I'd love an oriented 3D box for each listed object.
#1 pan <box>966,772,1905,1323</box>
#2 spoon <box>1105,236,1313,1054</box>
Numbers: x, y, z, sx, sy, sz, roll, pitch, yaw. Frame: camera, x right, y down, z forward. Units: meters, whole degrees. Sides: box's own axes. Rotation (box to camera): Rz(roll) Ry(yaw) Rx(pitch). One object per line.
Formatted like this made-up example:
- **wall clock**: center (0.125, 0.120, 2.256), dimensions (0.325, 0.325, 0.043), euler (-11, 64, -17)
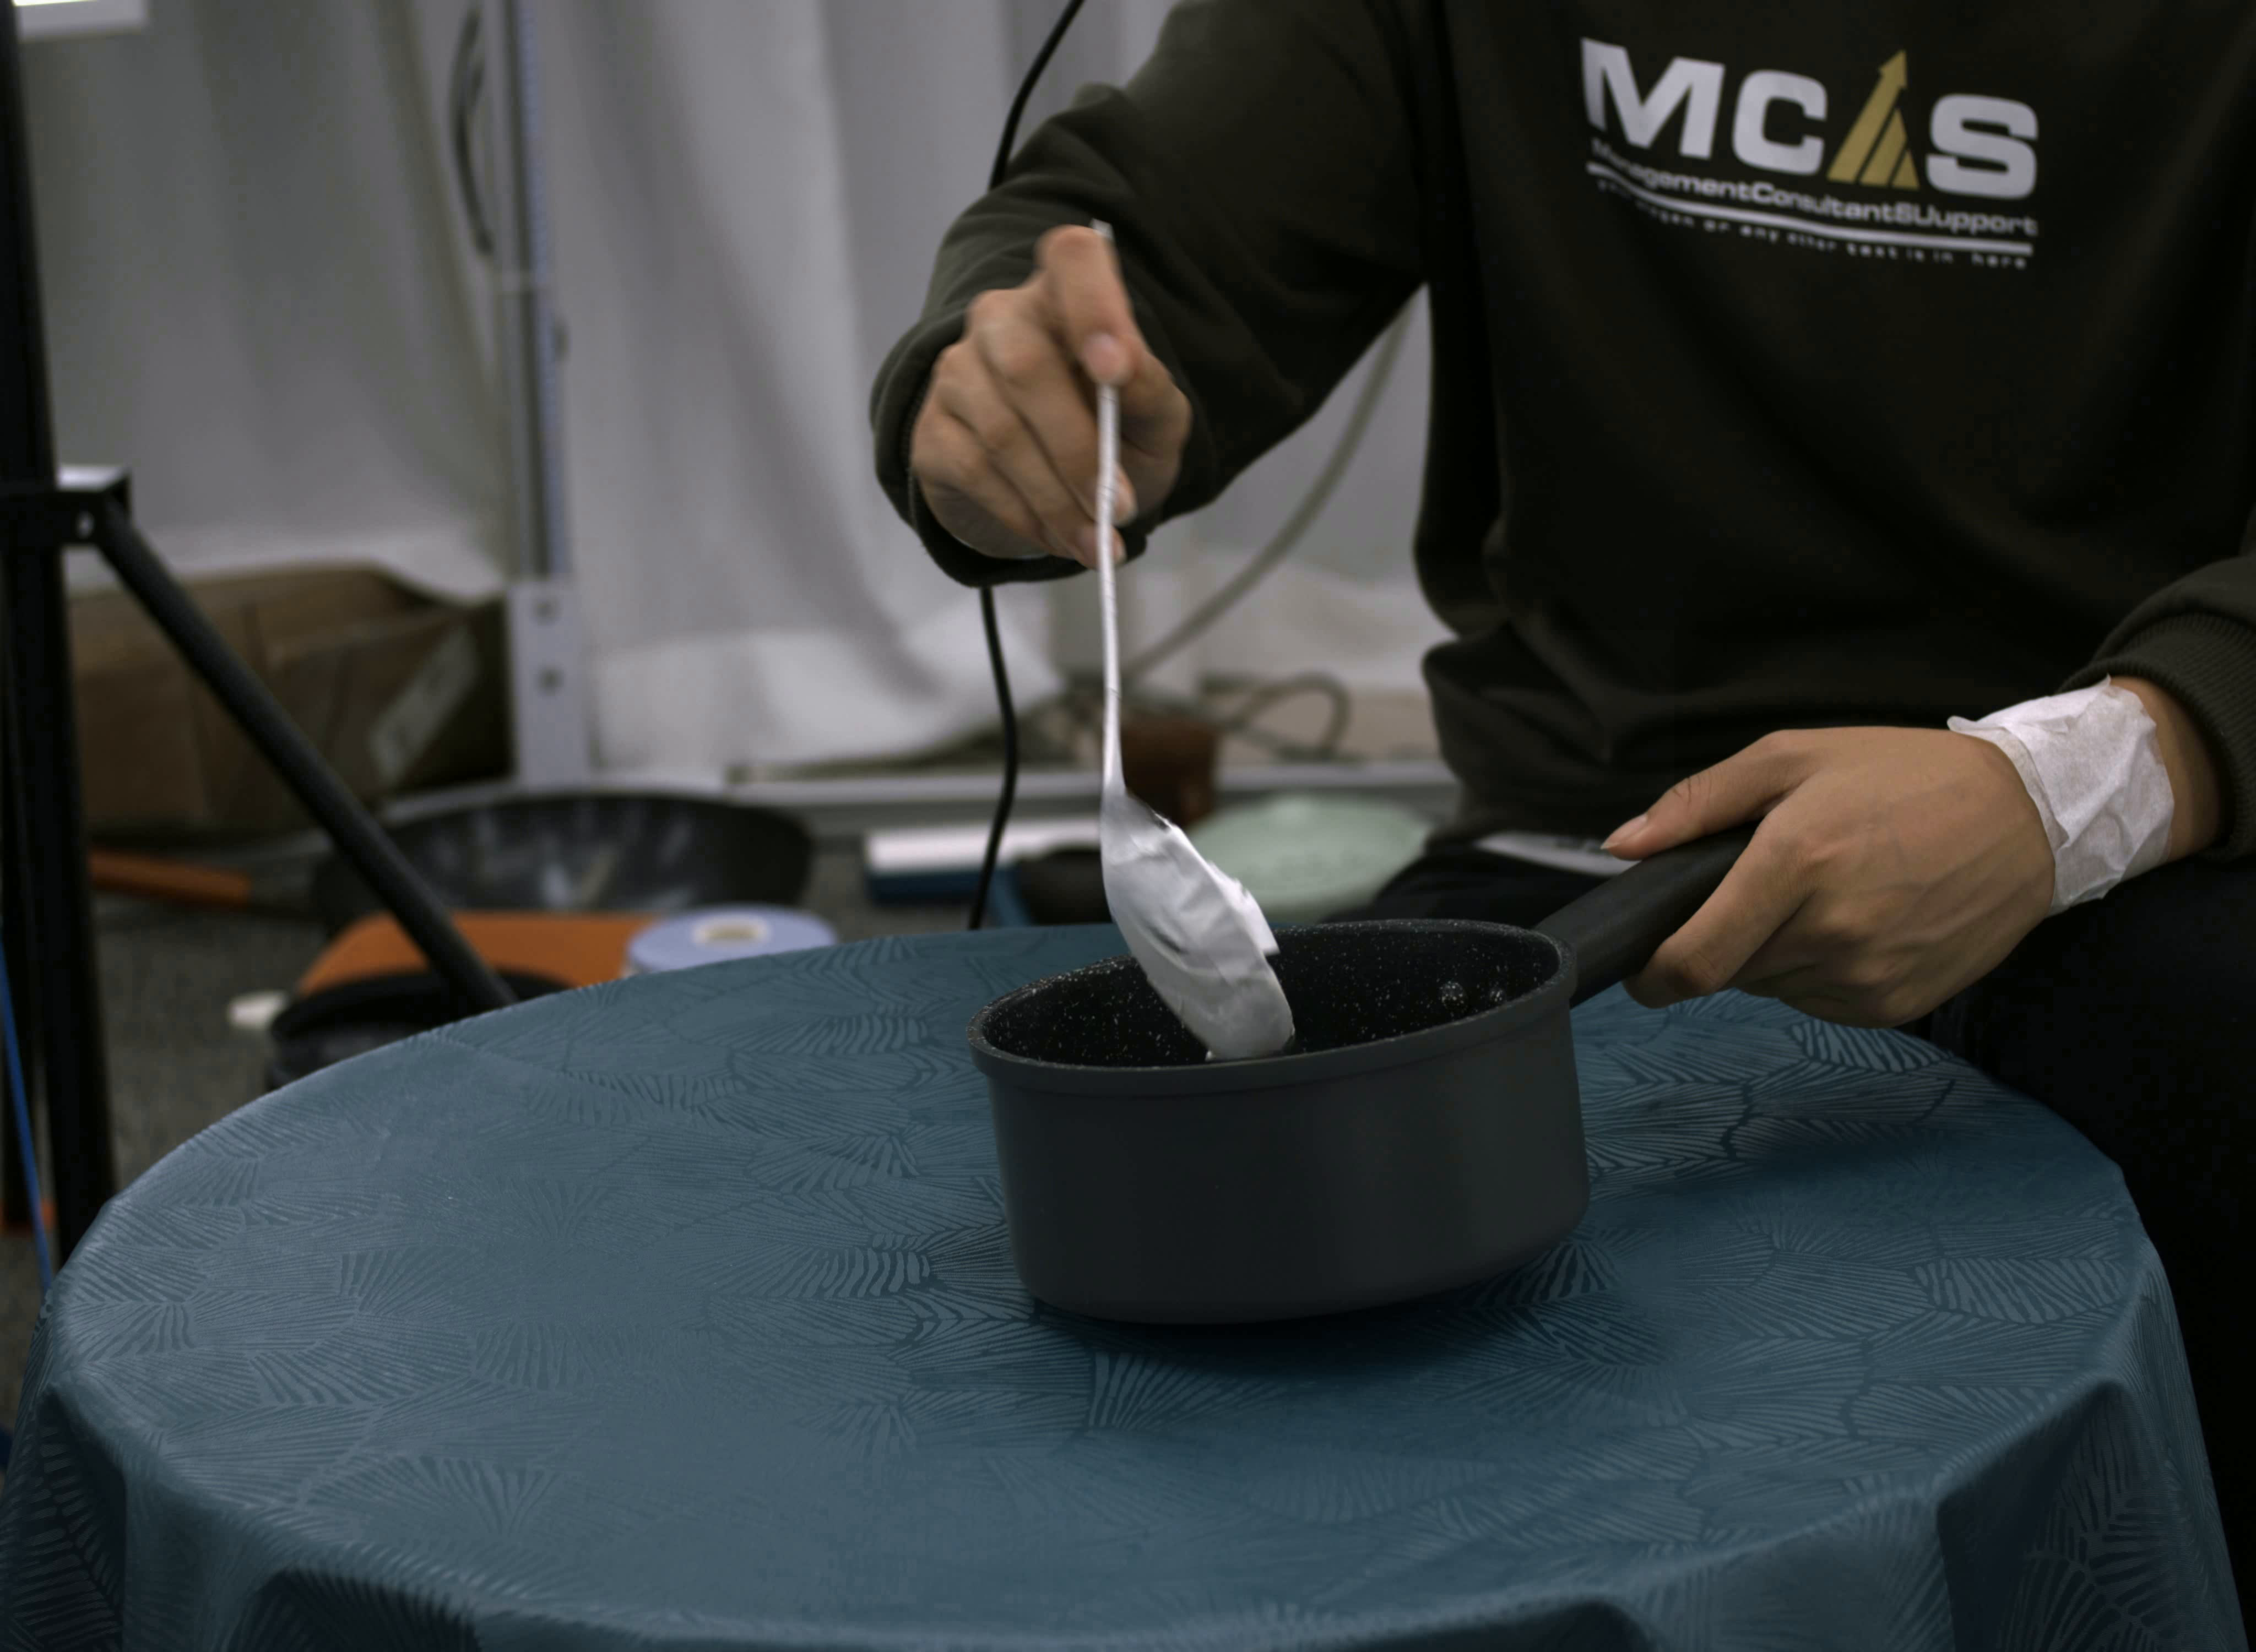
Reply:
- **pan**: center (0.104, 0.062, 1.522), dimensions (0.321, 0.086, 0.176), euler (-16, 14, -36)
- **spoon**: center (0.024, -0.052, 1.508), dimensions (0.059, 0.100, 0.280), euler (1, 57, 1)
